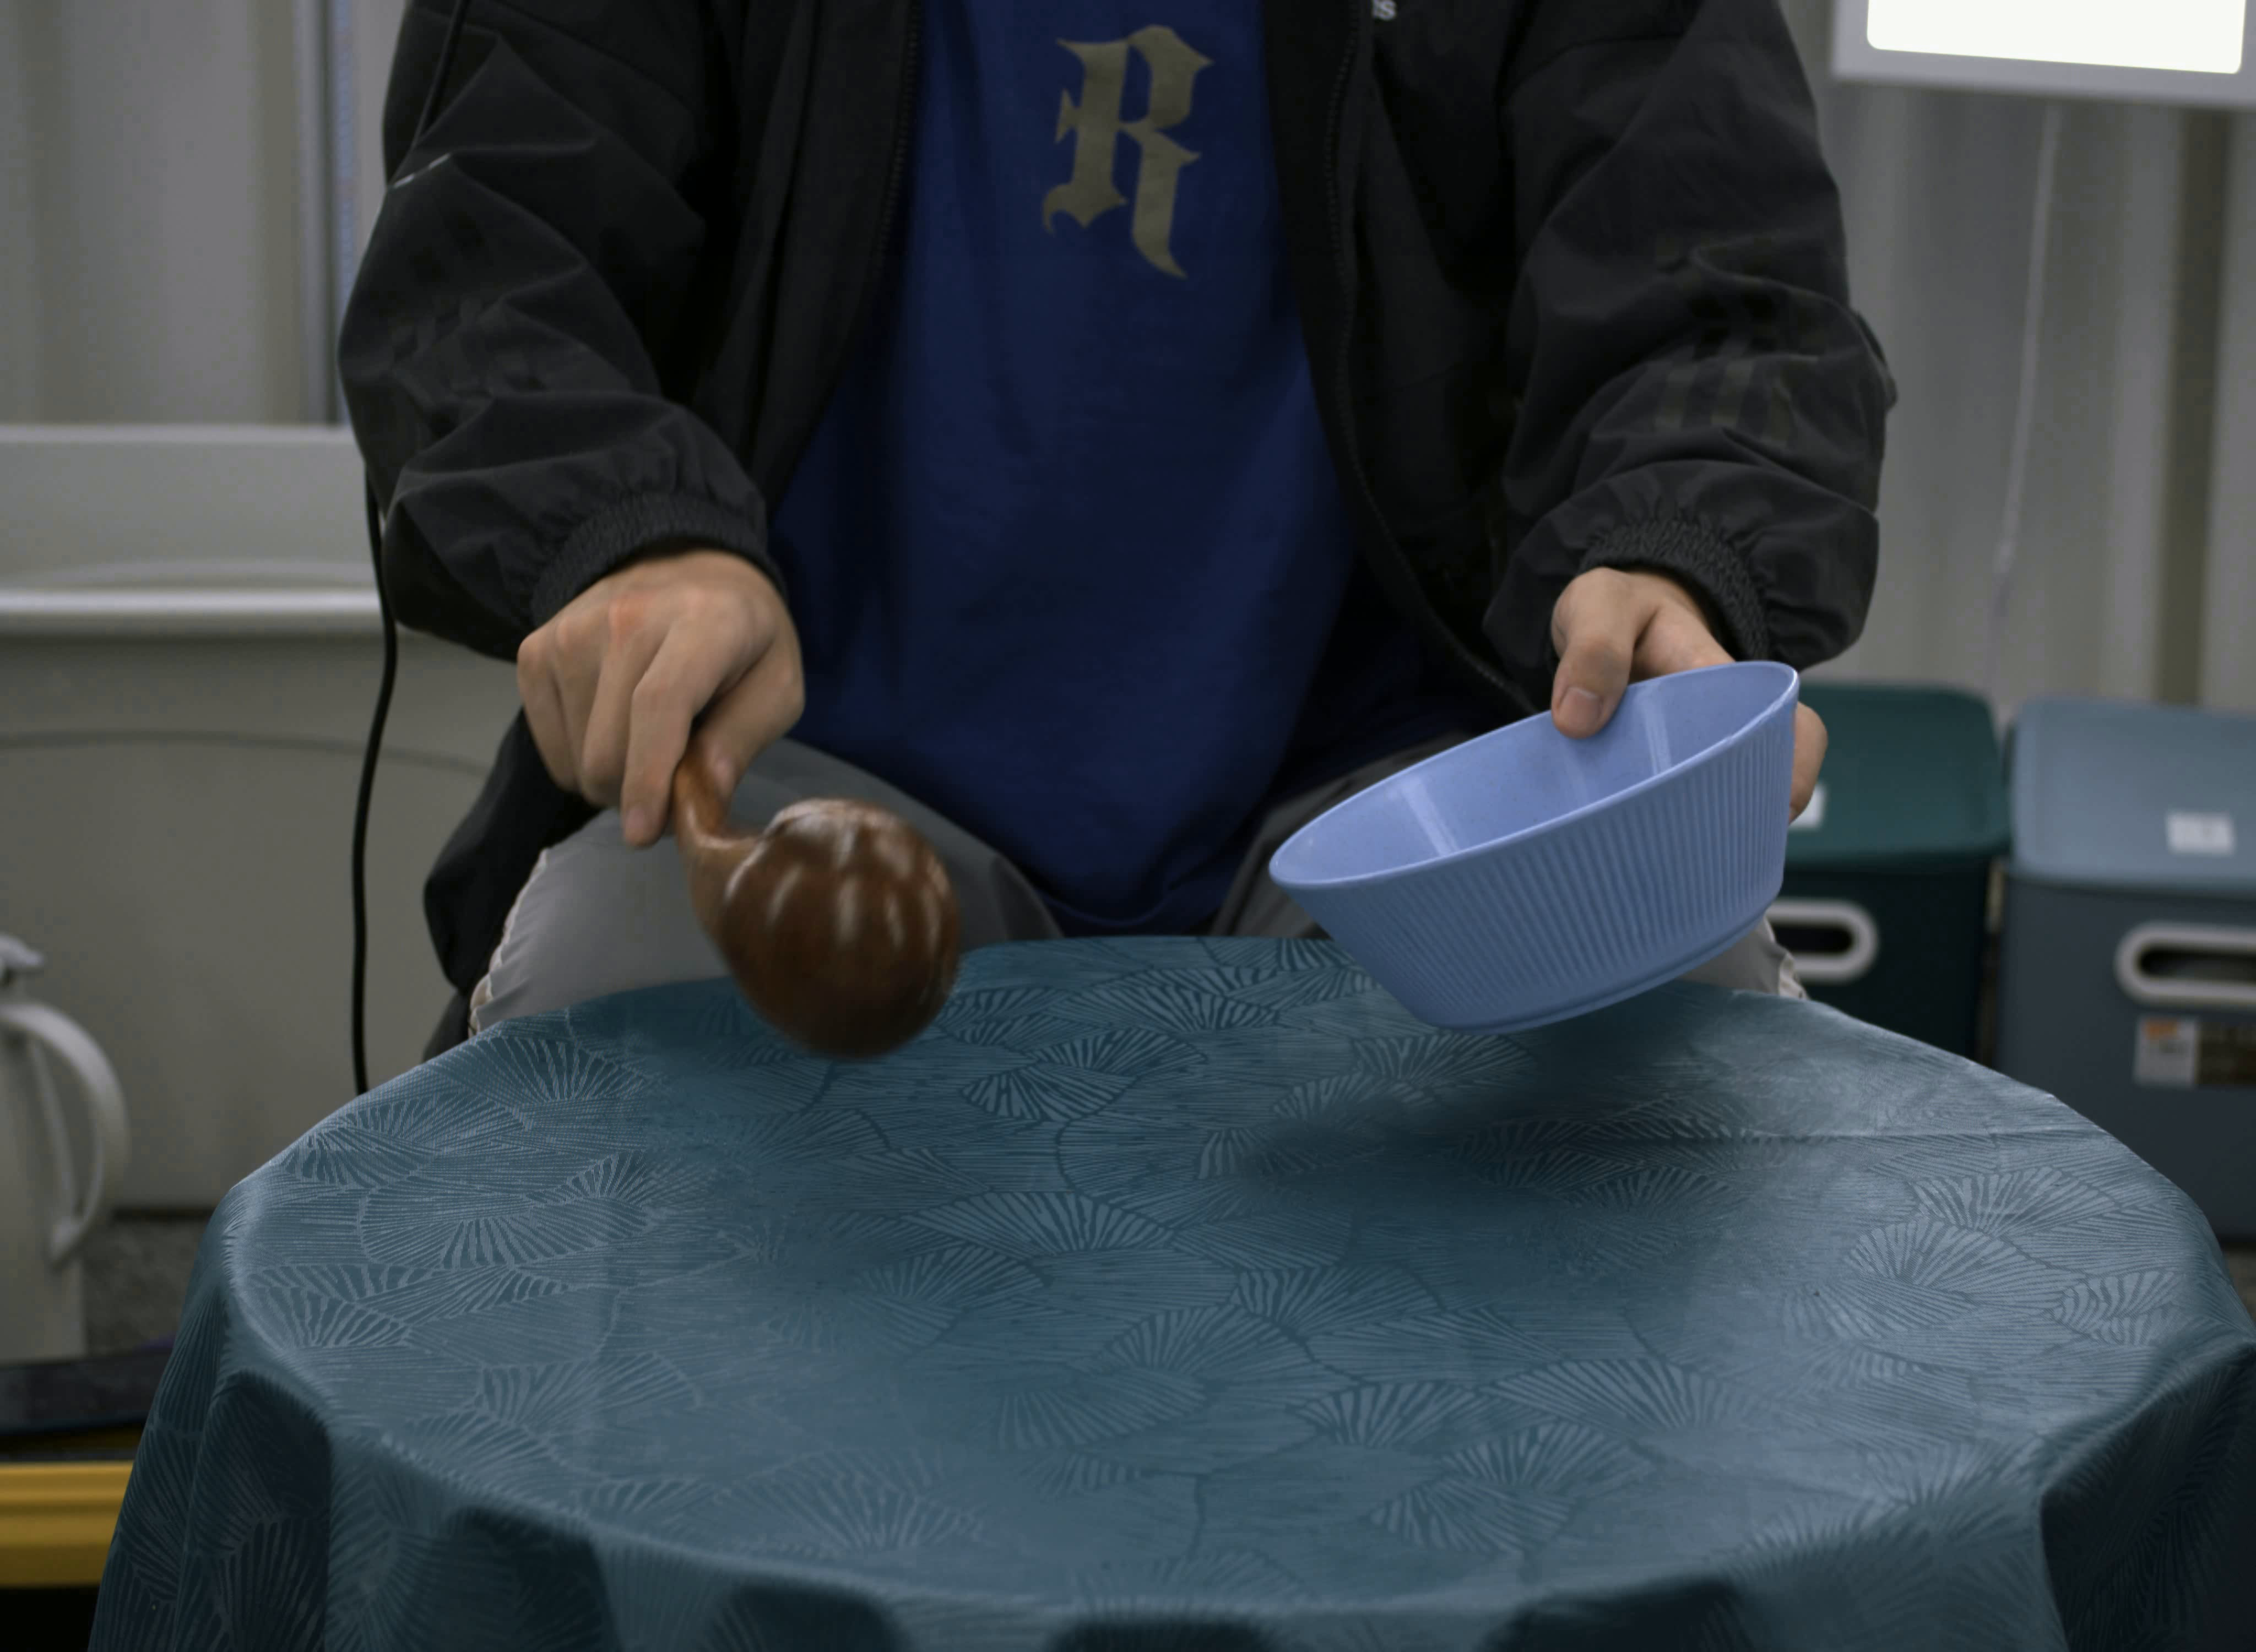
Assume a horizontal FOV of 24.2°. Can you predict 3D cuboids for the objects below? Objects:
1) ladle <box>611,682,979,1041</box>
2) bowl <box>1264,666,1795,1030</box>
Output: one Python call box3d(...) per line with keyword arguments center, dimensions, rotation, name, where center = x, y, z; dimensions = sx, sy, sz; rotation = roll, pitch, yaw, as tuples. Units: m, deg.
box3d(center=(-0.108, -0.003, 1.678), dimensions=(0.077, 0.082, 0.271), rotation=(15, 10, -16), name="ladle")
box3d(center=(0.135, 0.012, 1.646), dimensions=(0.175, 0.071, 0.175), rotation=(-21, 8, 4), name="bowl")
